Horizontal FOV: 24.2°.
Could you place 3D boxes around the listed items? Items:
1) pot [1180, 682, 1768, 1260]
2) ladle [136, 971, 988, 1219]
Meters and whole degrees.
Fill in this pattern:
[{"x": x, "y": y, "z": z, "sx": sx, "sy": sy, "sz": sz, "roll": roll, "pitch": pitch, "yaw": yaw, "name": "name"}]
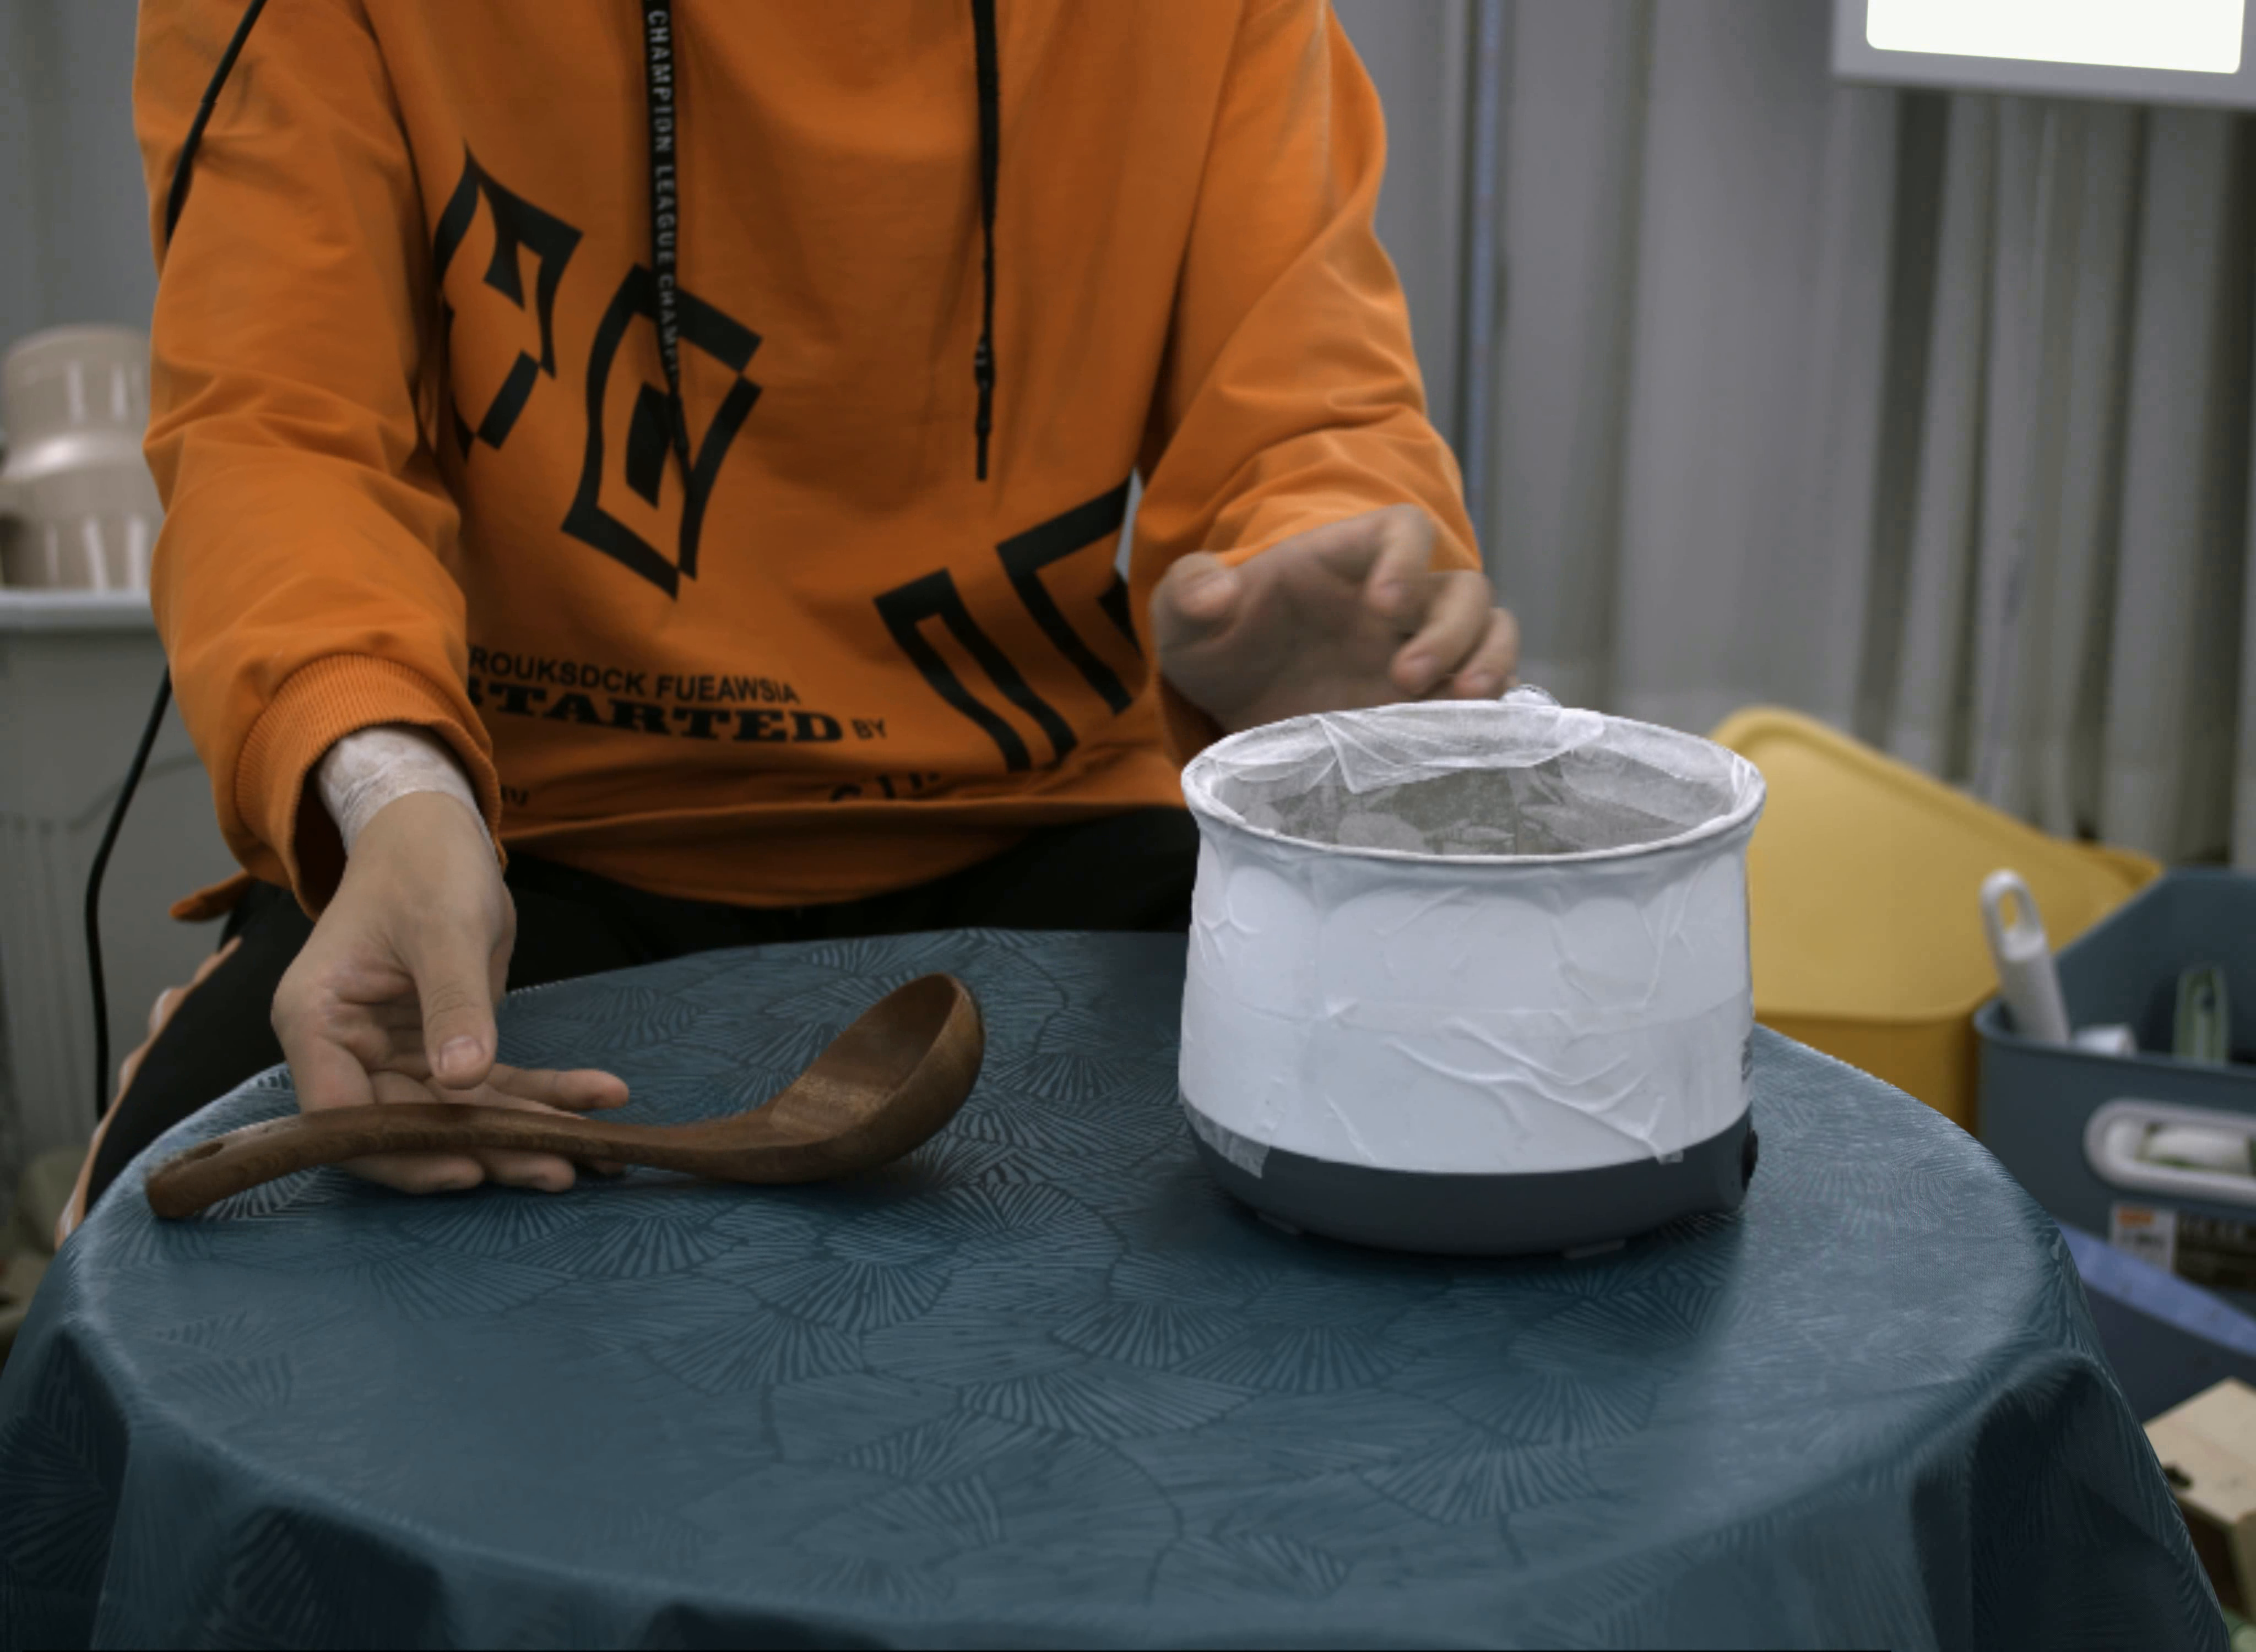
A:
[{"x": 0.110, "y": 0.039, "z": 1.633, "sx": 0.177, "sy": 0.138, "sz": 0.233, "roll": 4, "pitch": 16, "yaw": 11, "name": "pot"}, {"x": -0.172, "y": 0.082, "z": 1.607, "sx": 0.260, "sy": 0.065, "sz": 0.076, "roll": -2, "pitch": 12, "yaw": -10, "name": "ladle"}]
